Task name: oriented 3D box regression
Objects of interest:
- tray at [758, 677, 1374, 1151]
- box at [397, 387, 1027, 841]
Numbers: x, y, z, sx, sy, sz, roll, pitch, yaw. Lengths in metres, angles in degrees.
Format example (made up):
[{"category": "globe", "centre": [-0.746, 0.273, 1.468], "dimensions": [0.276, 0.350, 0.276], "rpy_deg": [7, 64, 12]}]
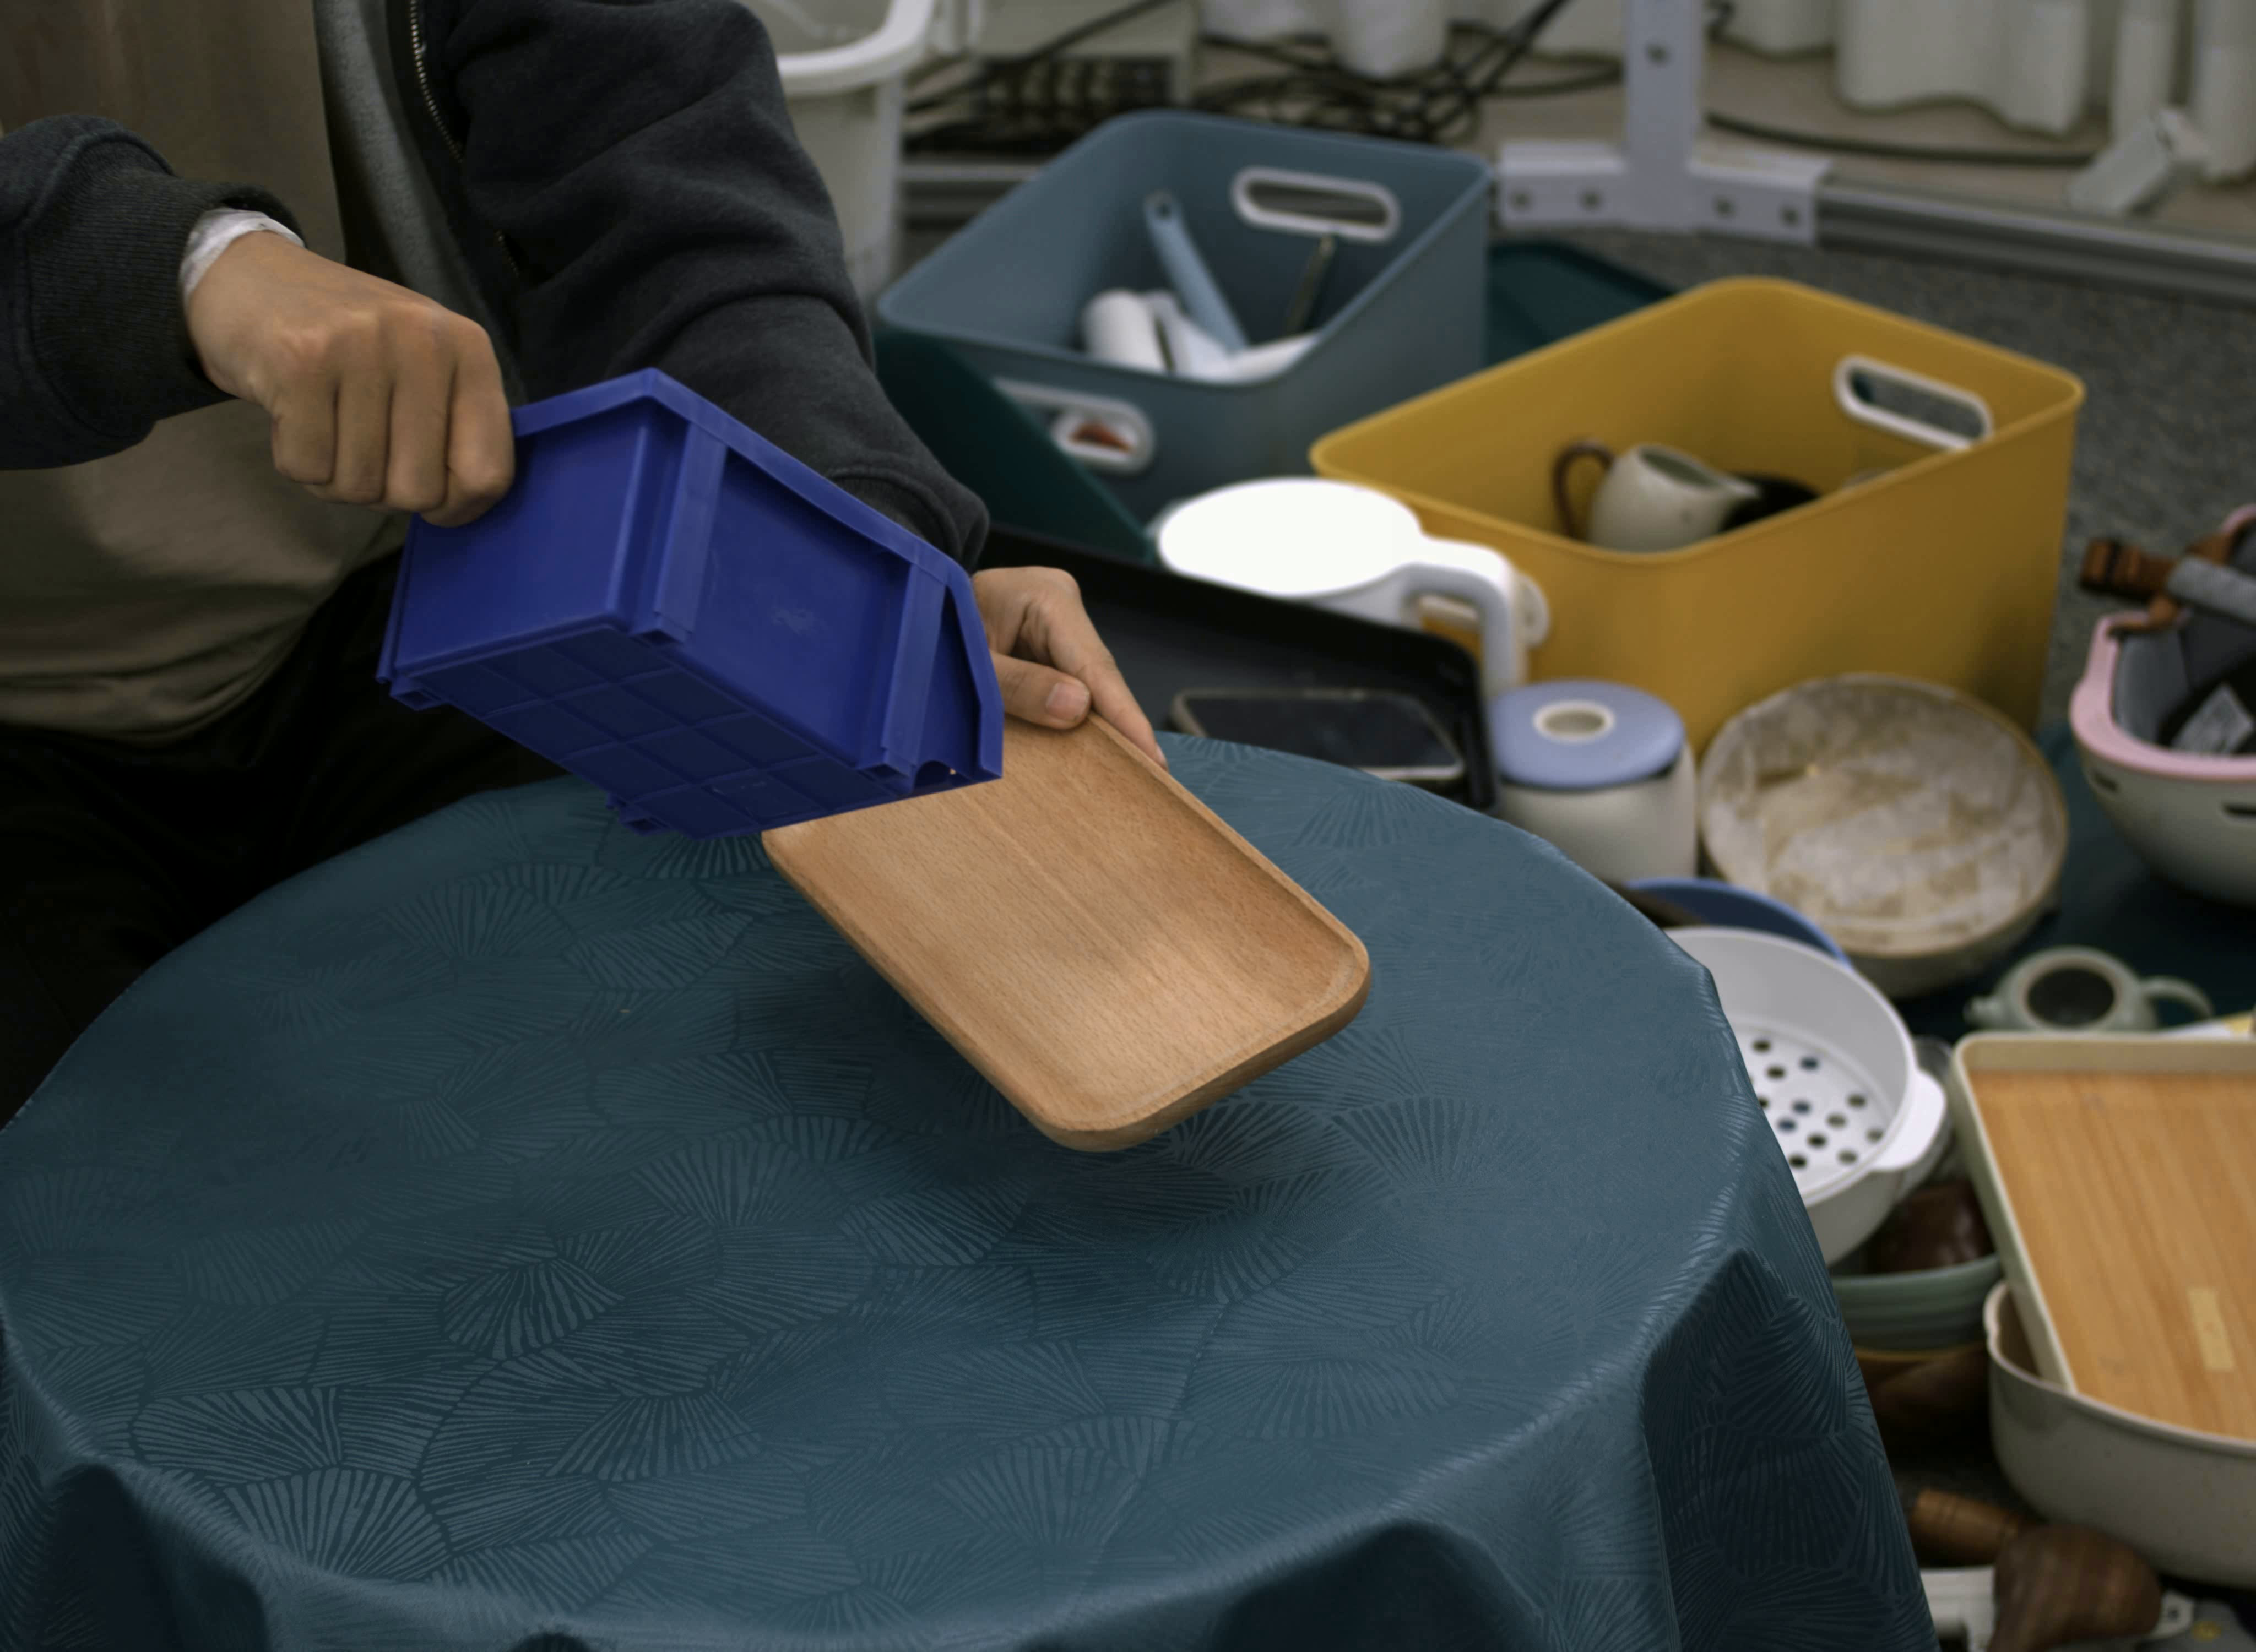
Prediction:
[{"category": "tray", "centre": [-0.024, 0.027, 1.910], "dimensions": [0.131, 0.022, 0.252], "rpy_deg": [-25, 36, -19]}, {"category": "box", "centre": [-0.135, -0.058, 1.808], "dimensions": [0.123, 0.083, 0.179], "rpy_deg": [-15, -29, 41]}]
